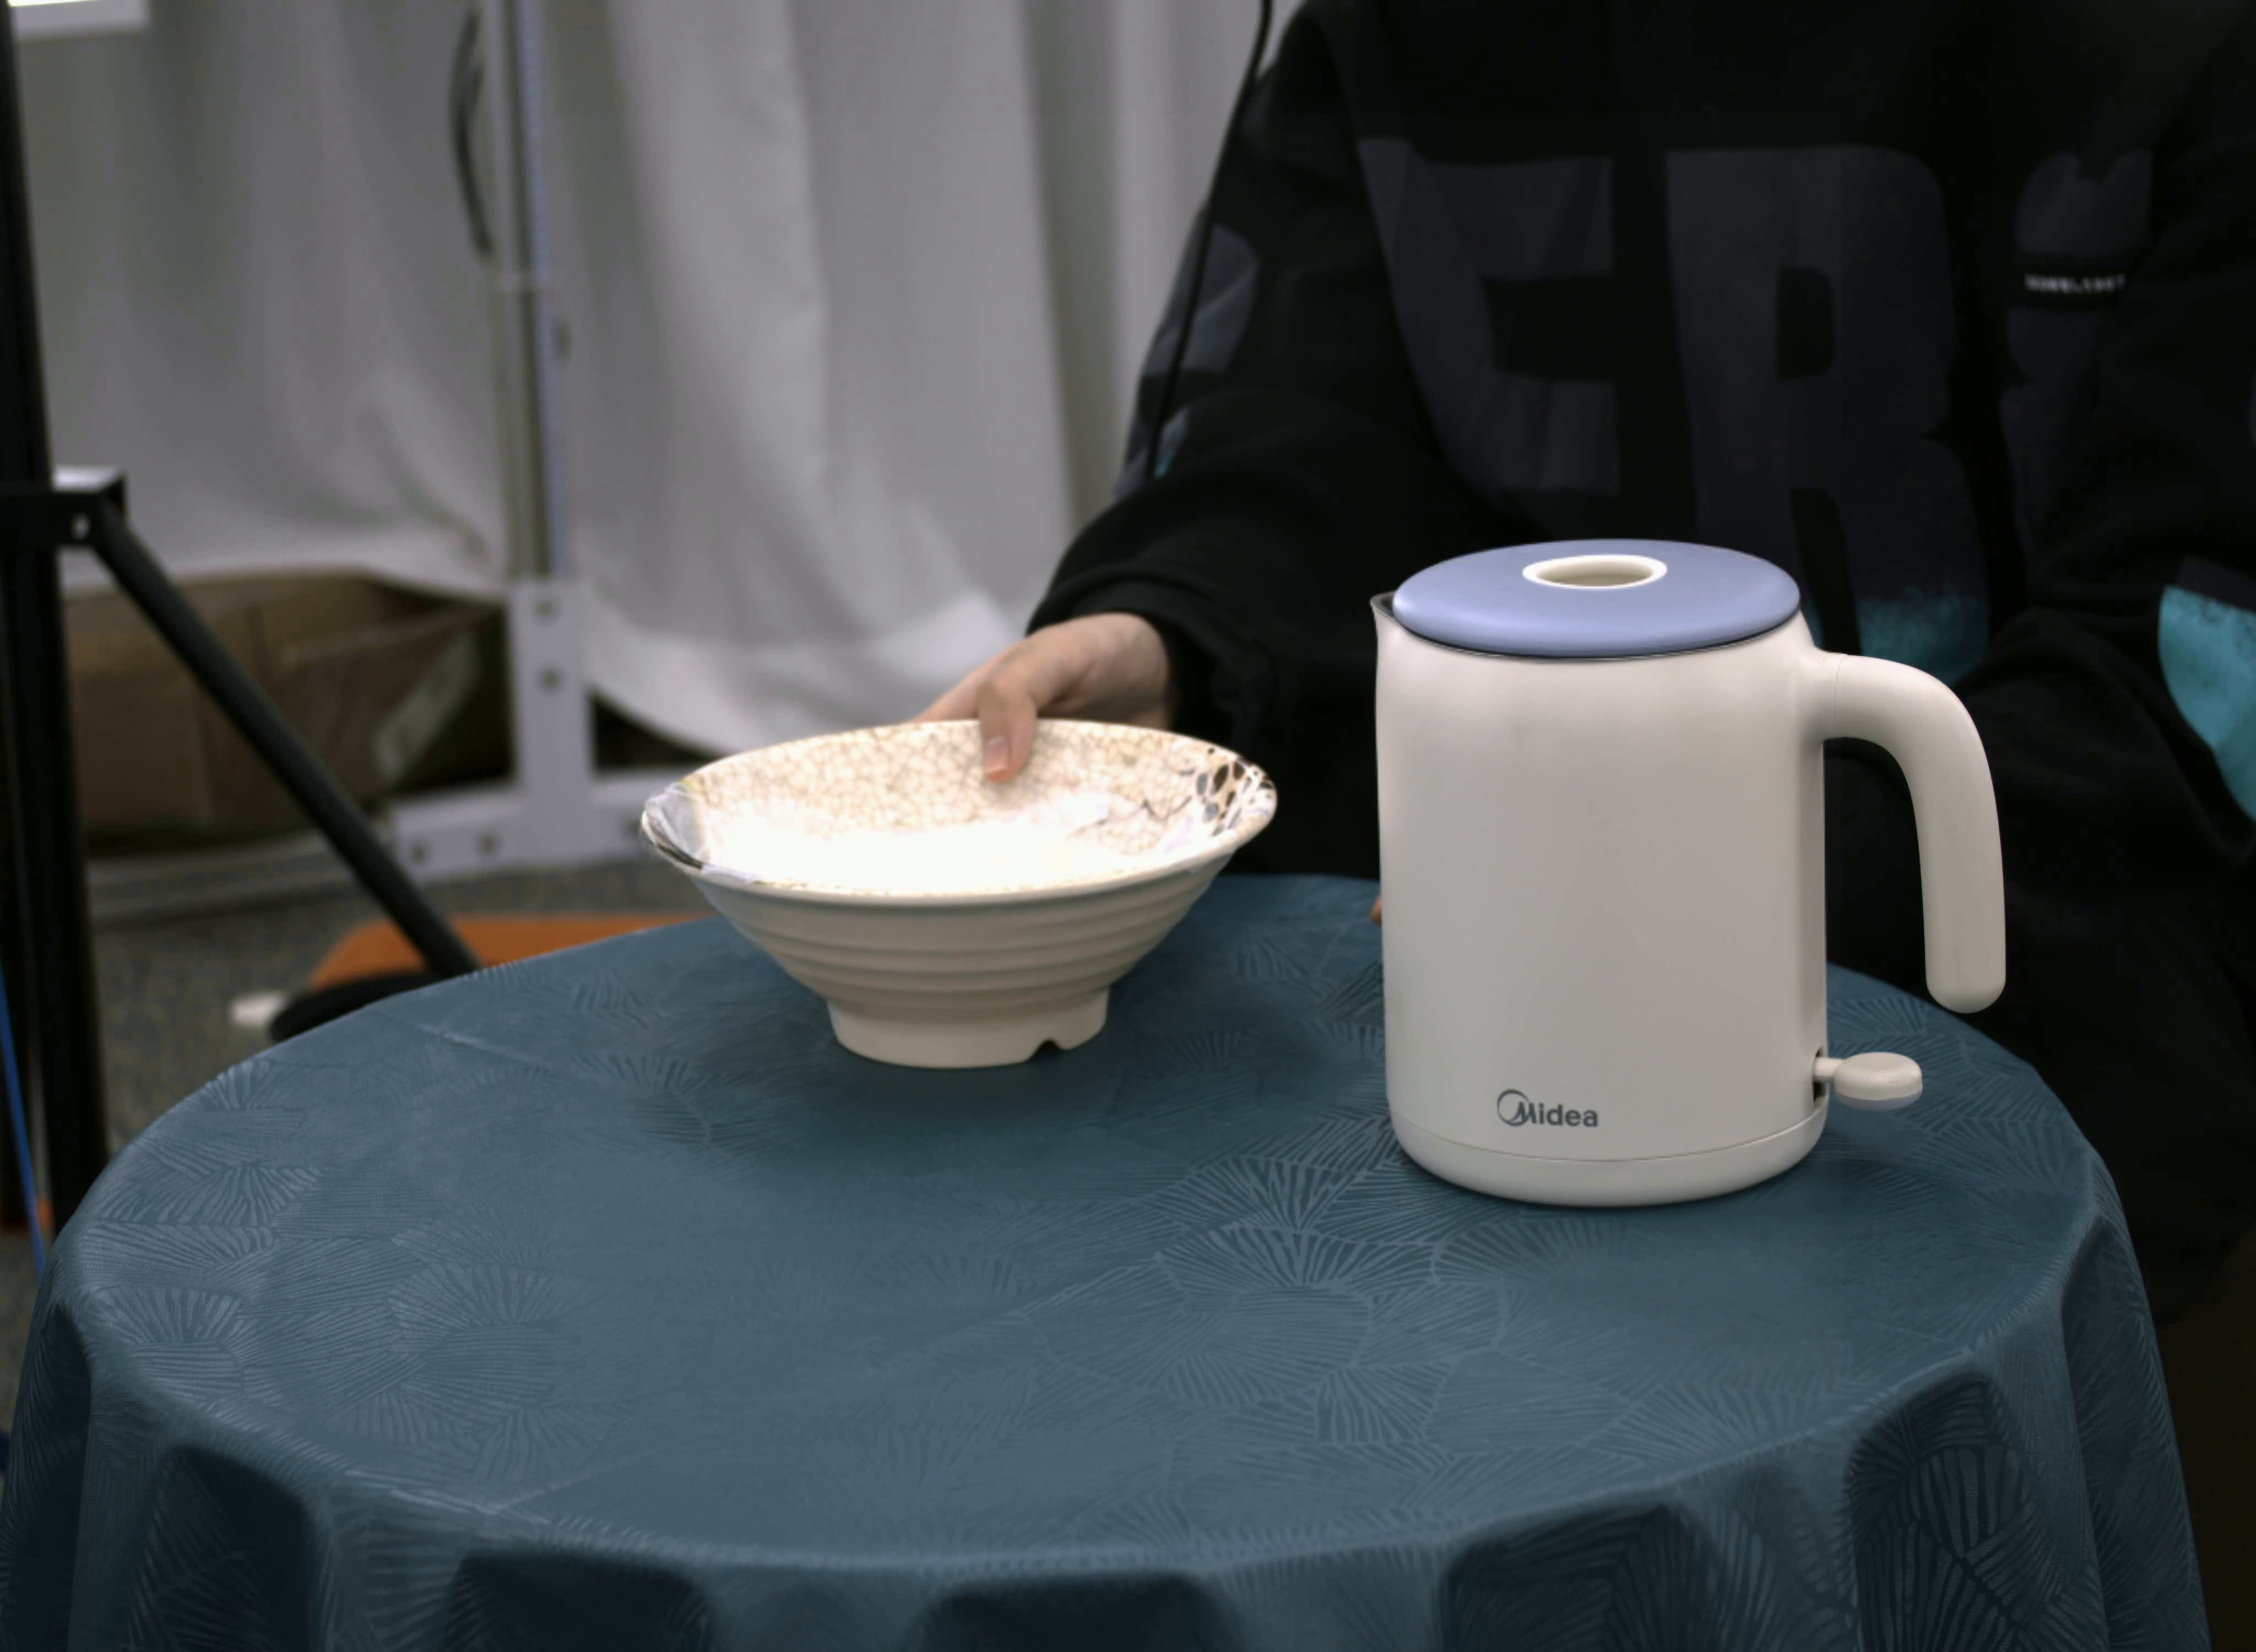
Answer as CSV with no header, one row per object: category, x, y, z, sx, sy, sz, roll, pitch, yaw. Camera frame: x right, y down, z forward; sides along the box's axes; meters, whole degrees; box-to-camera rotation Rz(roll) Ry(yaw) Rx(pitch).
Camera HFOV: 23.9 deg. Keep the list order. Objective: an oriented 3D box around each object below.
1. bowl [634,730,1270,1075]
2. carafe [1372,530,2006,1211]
bowl,-0.056,0.030,1.706,0.203,0.078,0.205,-1,14,-1
carafe,0.162,0.015,1.548,0.193,0.182,0.131,6,18,19
